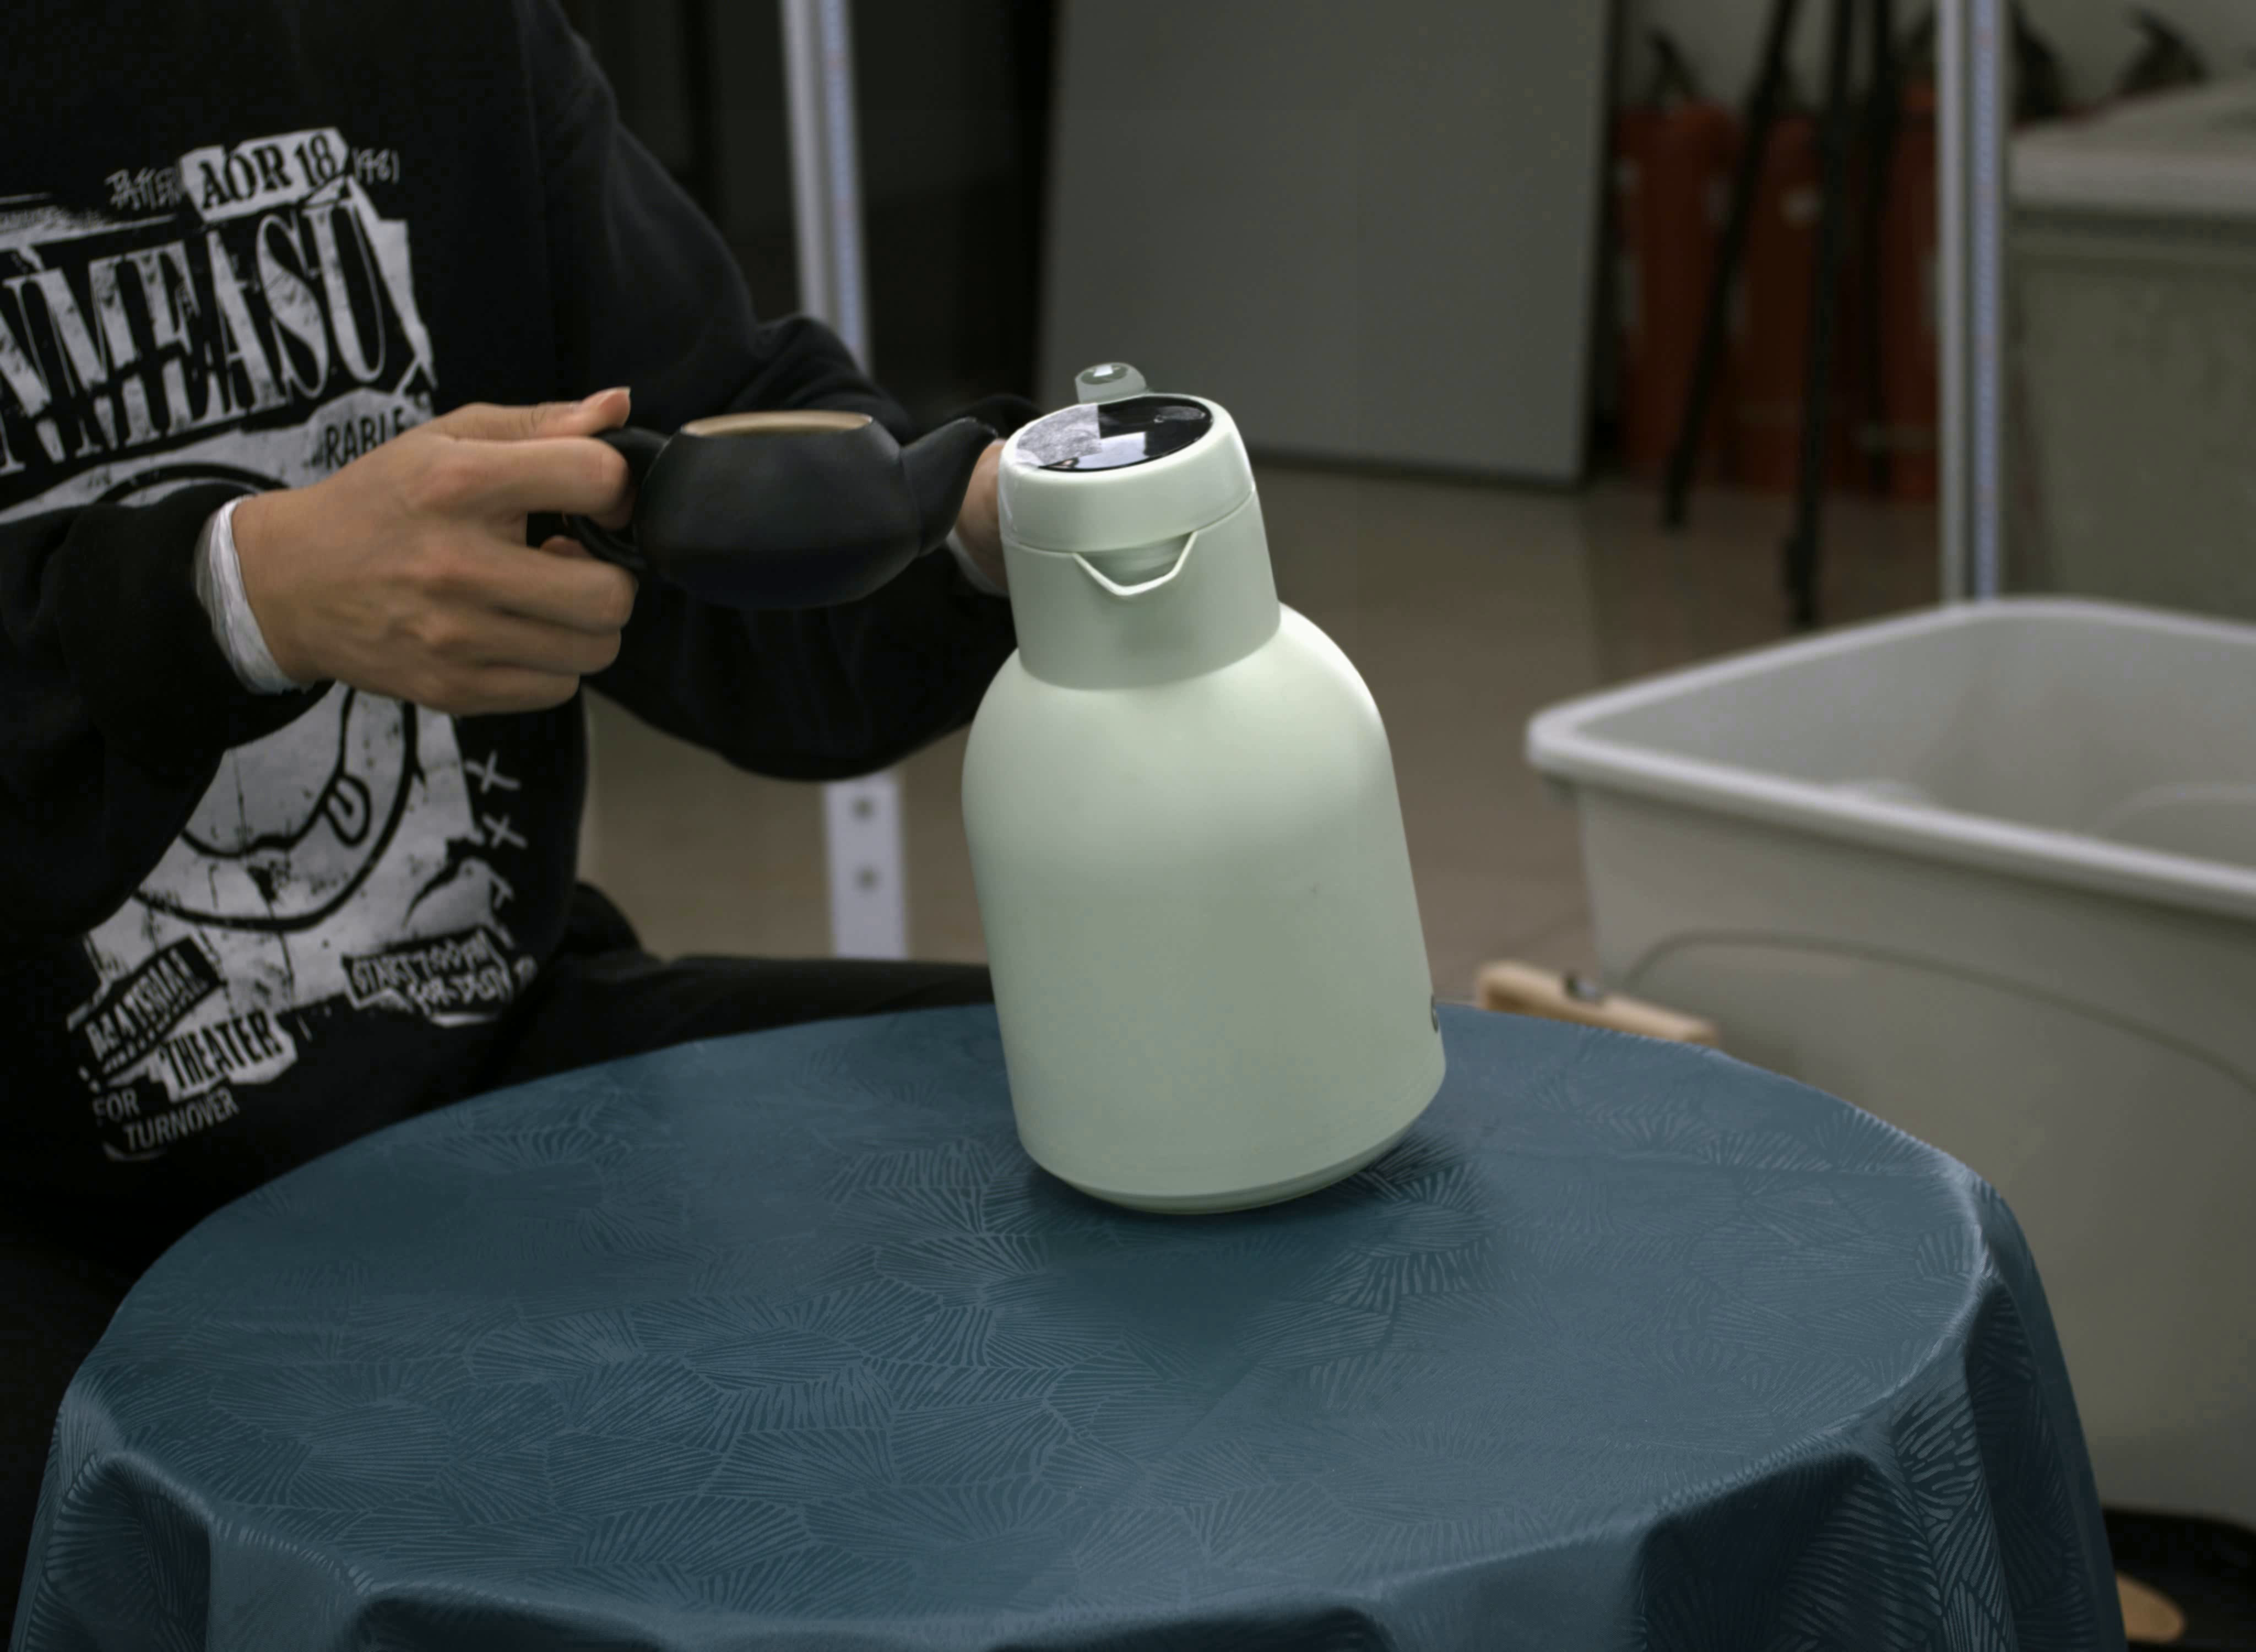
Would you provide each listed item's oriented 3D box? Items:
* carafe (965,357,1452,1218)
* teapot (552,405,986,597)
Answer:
[{"bbox_3d":[0.016,-0.019,1.761,0.142,0.259,0.187,-11,19,1],"label":"carafe"},{"bbox_3d":[-0.108,-0.098,1.634,0.131,0.054,0.091,-2,9,0],"label":"teapot"}]
